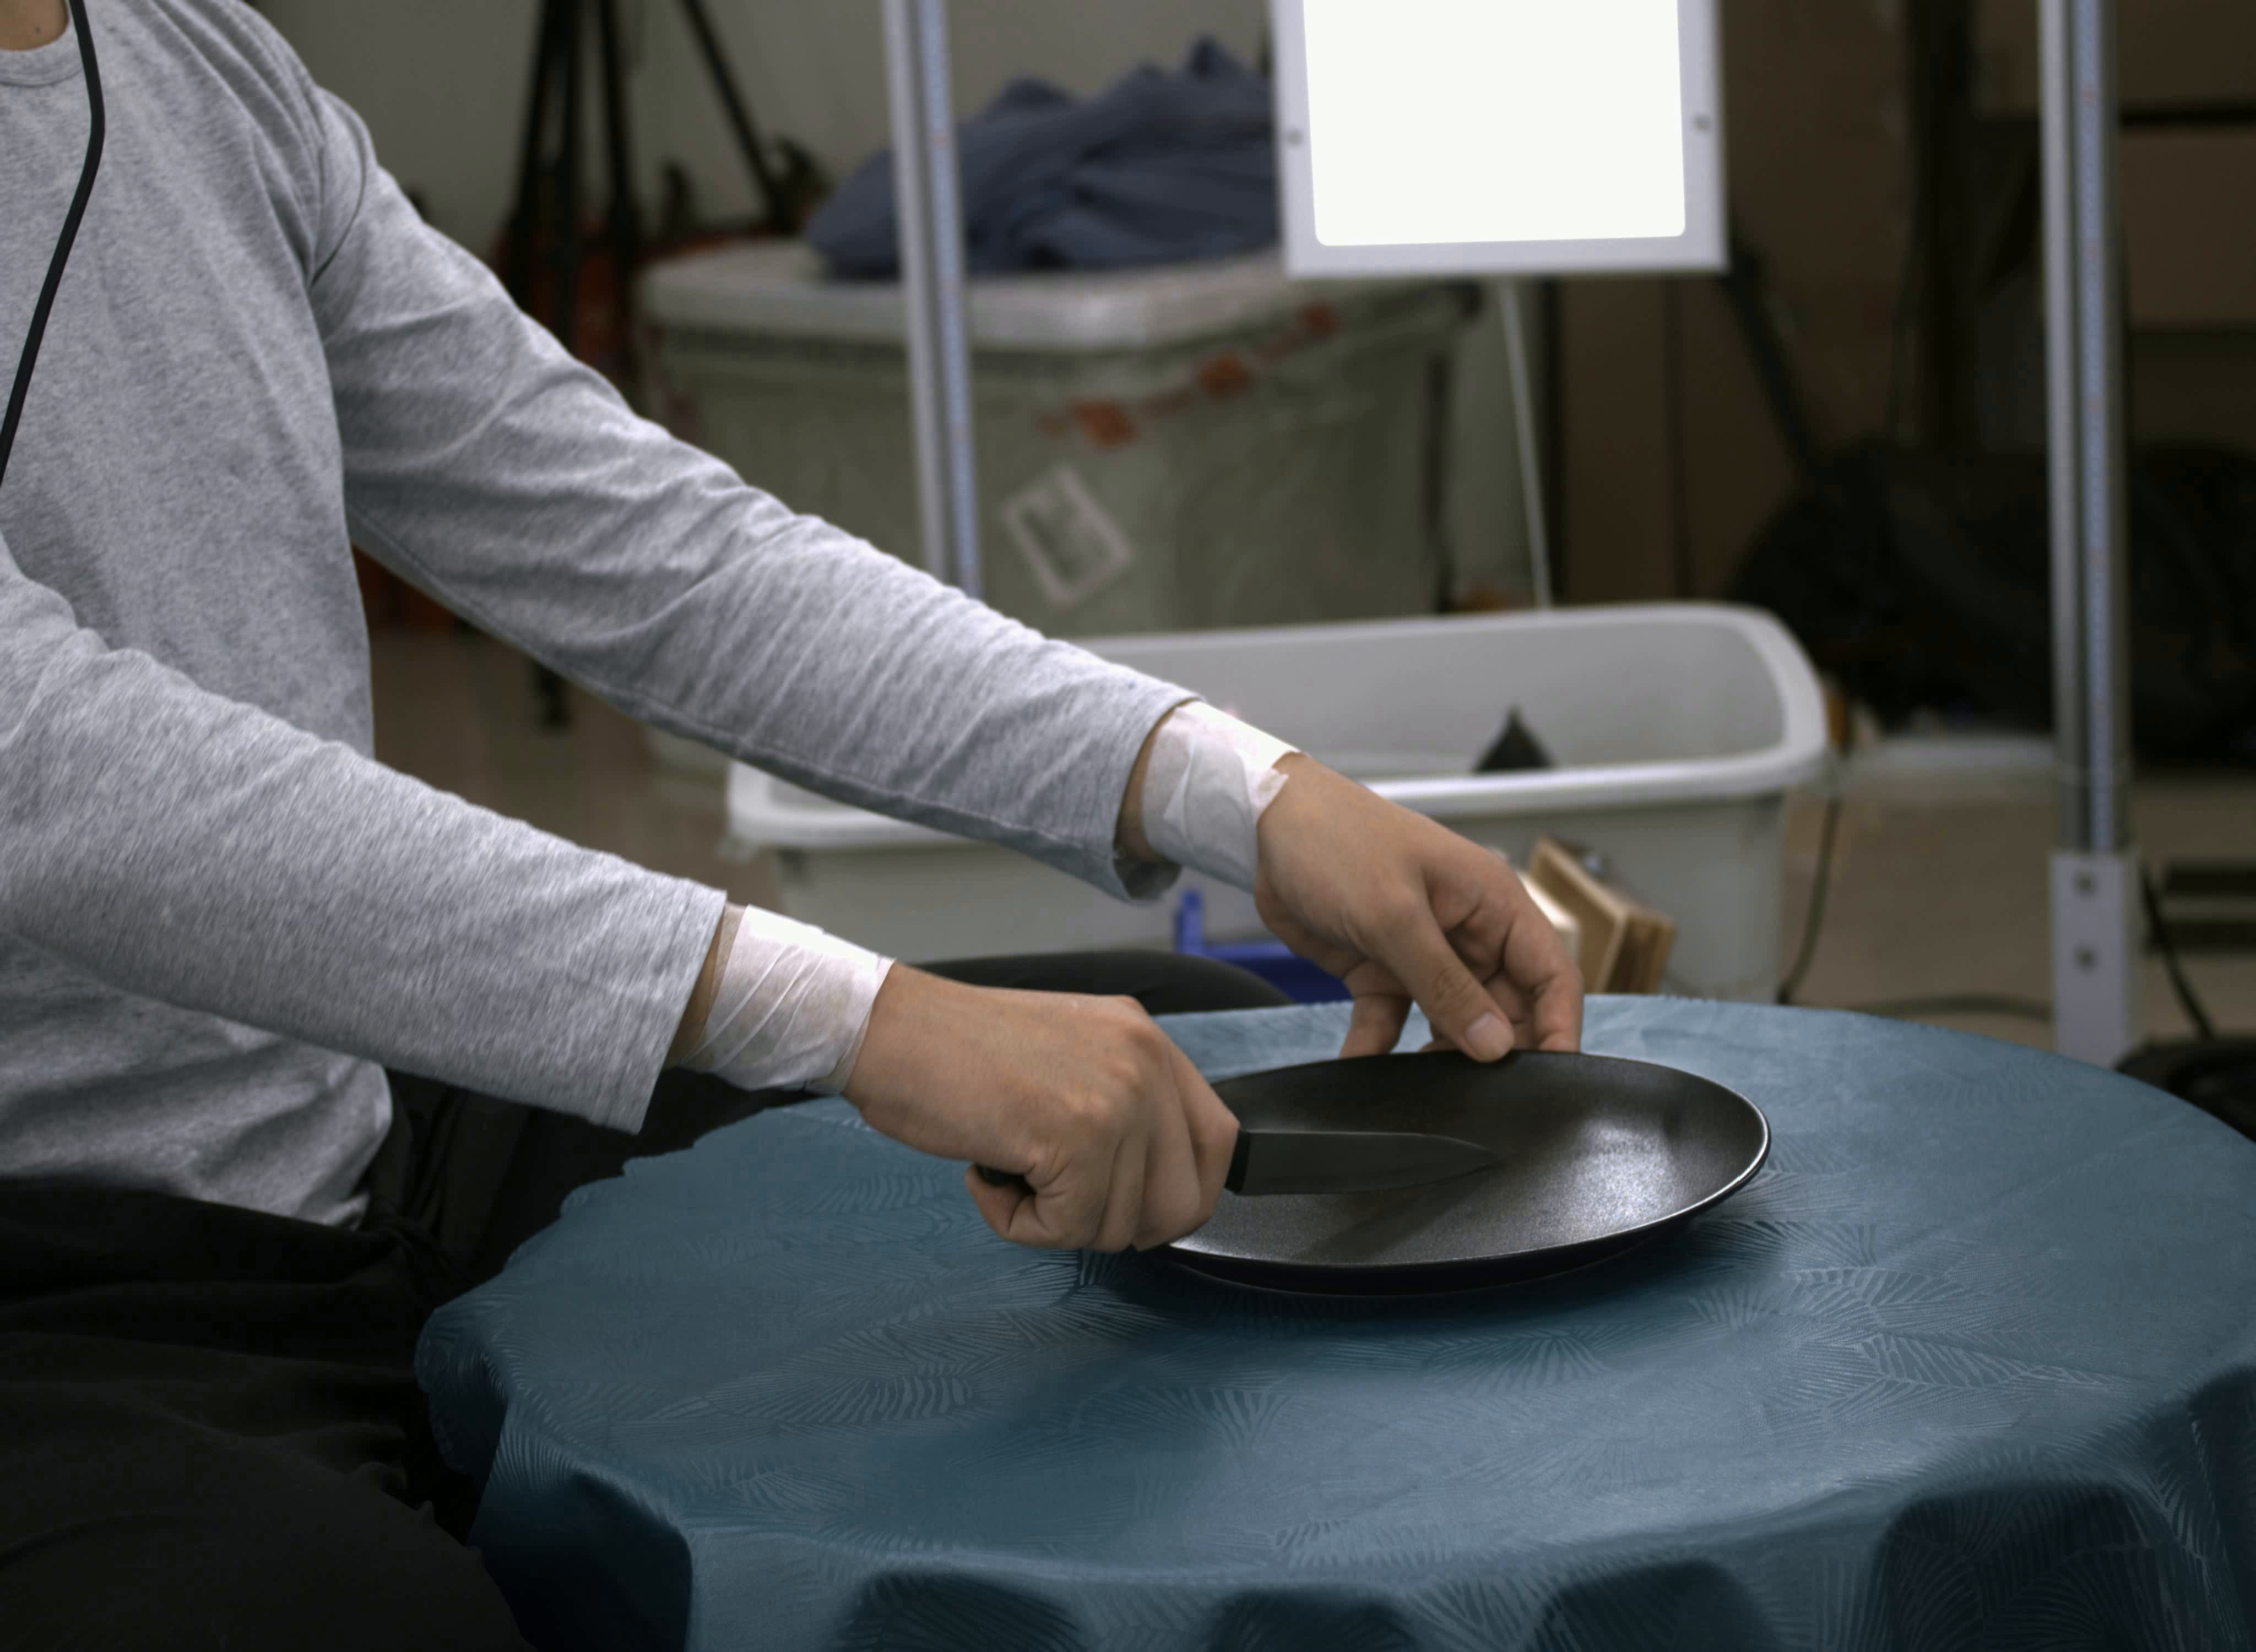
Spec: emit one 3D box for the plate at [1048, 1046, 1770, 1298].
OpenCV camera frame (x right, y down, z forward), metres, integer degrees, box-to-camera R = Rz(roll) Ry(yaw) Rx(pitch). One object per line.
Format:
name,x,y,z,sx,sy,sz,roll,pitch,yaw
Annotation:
plate,0.095,0.119,1.851,0.244,0.023,0.244,-5,14,0

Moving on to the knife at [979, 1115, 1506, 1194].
knife,0.043,0.107,1.794,0.232,0.024,0.016,5,9,-42
